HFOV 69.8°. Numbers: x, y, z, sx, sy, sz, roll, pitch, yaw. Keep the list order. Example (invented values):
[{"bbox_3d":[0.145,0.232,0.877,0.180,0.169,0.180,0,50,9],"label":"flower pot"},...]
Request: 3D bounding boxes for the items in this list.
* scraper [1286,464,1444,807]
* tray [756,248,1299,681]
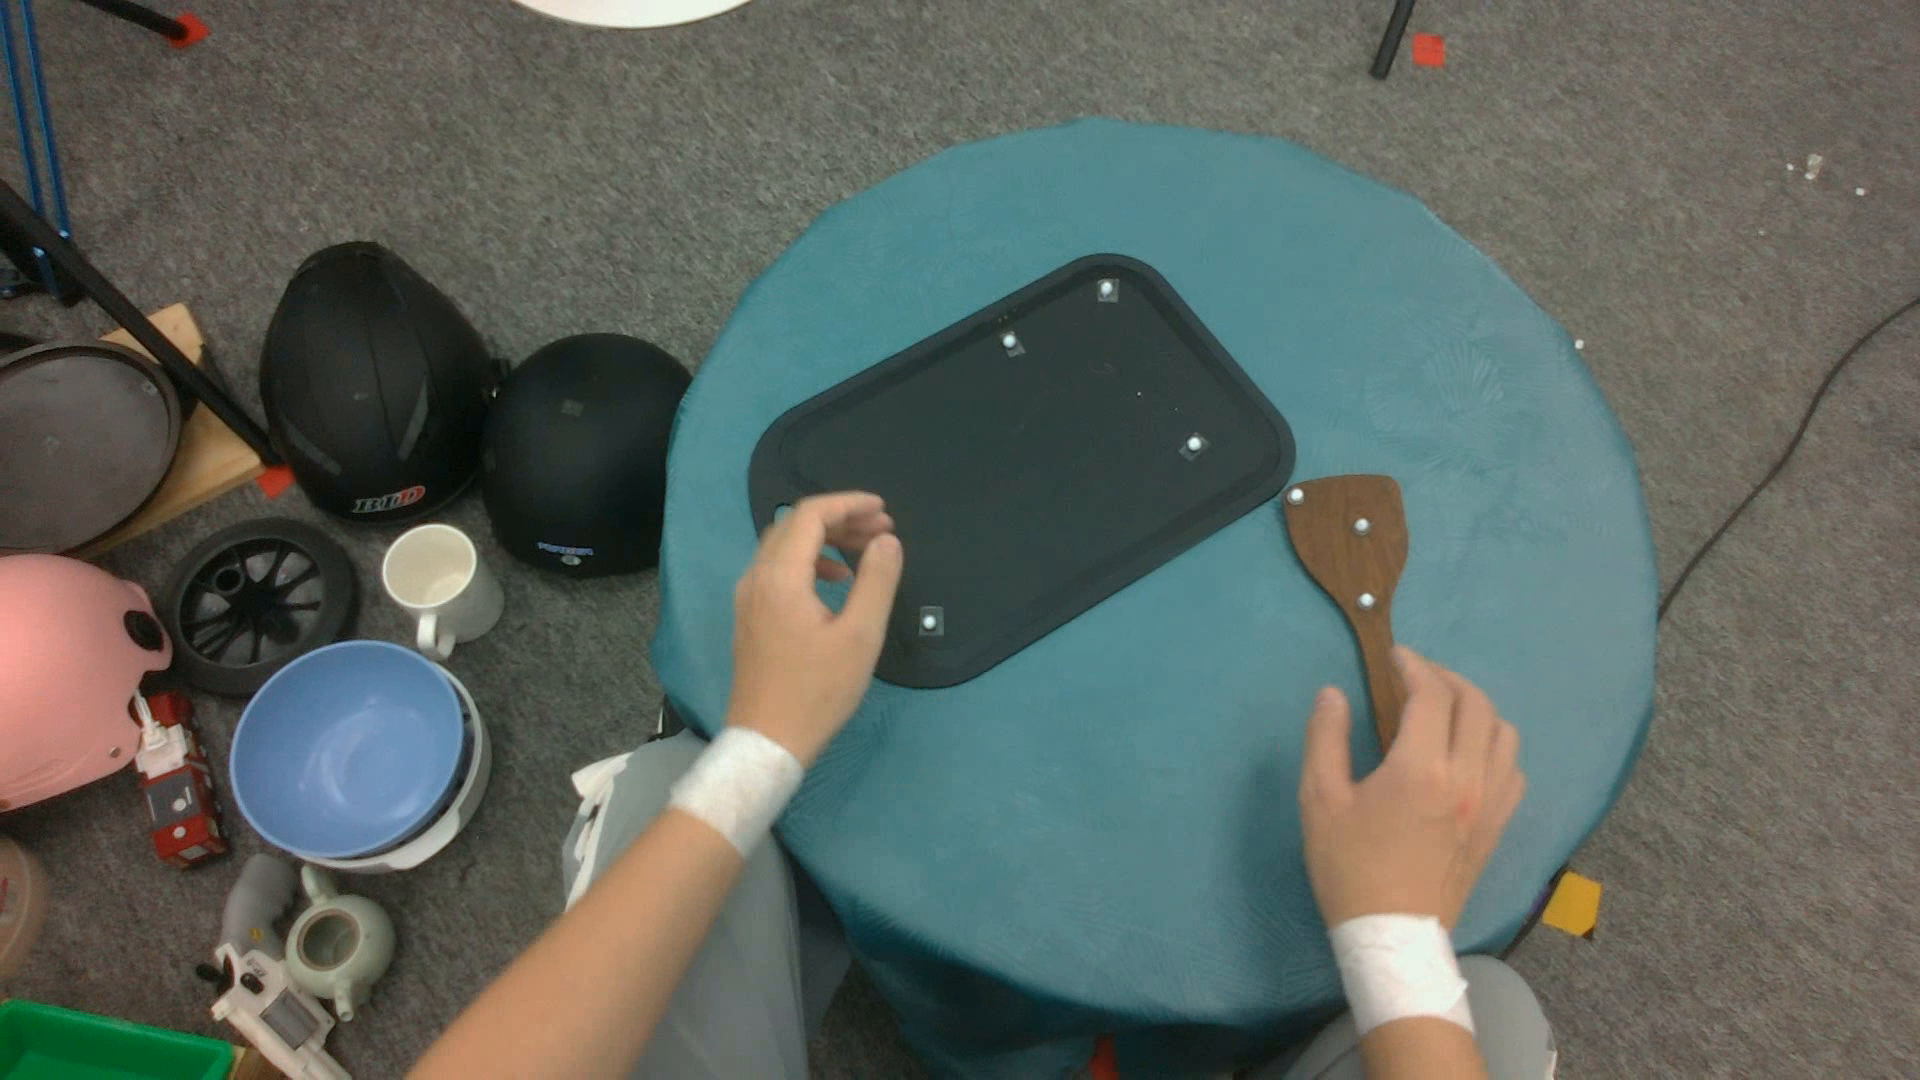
[{"bbox_3d":[0.246,0.052,0.807,0.076,0.011,0.212,-5,66,-3],"label":"scraper"},{"bbox_3d":[0.038,-0.053,0.852,0.326,0.010,0.211,-30,69,-14],"label":"tray"}]
